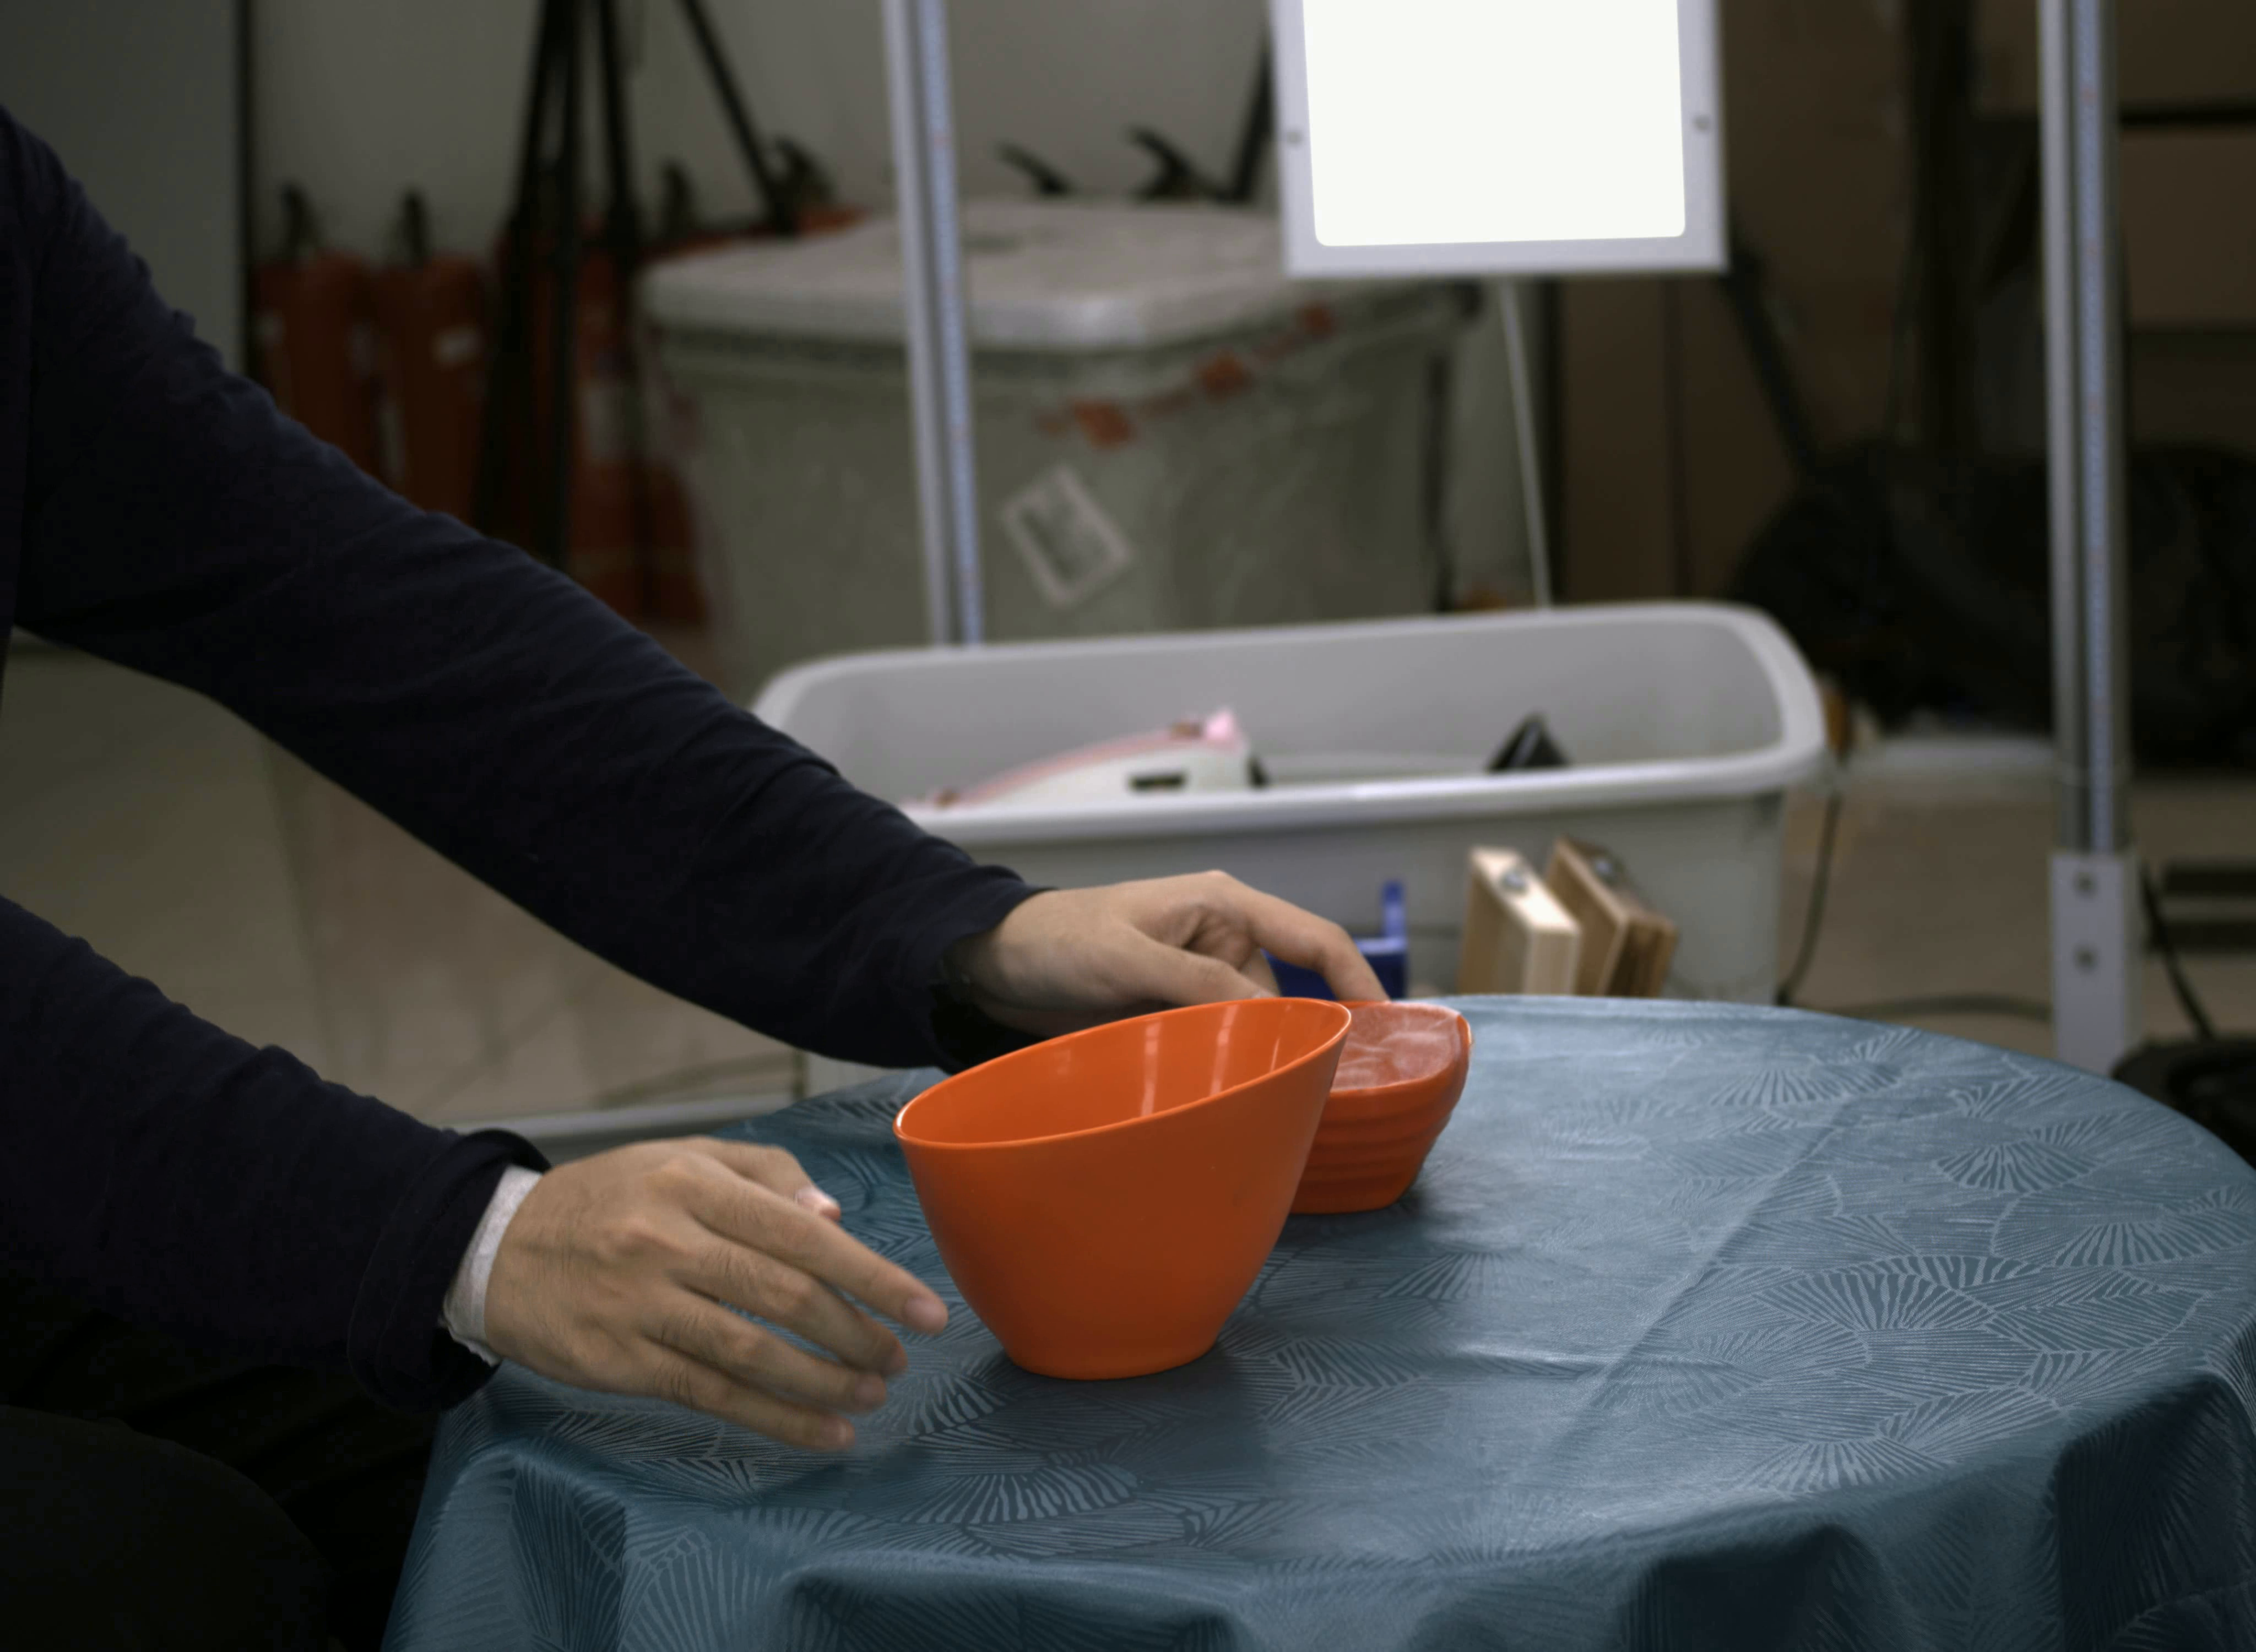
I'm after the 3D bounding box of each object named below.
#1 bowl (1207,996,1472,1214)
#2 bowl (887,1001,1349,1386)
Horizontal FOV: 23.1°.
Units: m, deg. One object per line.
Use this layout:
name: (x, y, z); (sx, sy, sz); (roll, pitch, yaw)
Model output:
bowl: (0.064, 0.098, 1.887); (0.118, 0.051, 0.119); (-5, 16, 0)
bowl: (-0.001, 0.117, 1.729); (0.147, 0.105, 0.148); (-5, 14, 0)
